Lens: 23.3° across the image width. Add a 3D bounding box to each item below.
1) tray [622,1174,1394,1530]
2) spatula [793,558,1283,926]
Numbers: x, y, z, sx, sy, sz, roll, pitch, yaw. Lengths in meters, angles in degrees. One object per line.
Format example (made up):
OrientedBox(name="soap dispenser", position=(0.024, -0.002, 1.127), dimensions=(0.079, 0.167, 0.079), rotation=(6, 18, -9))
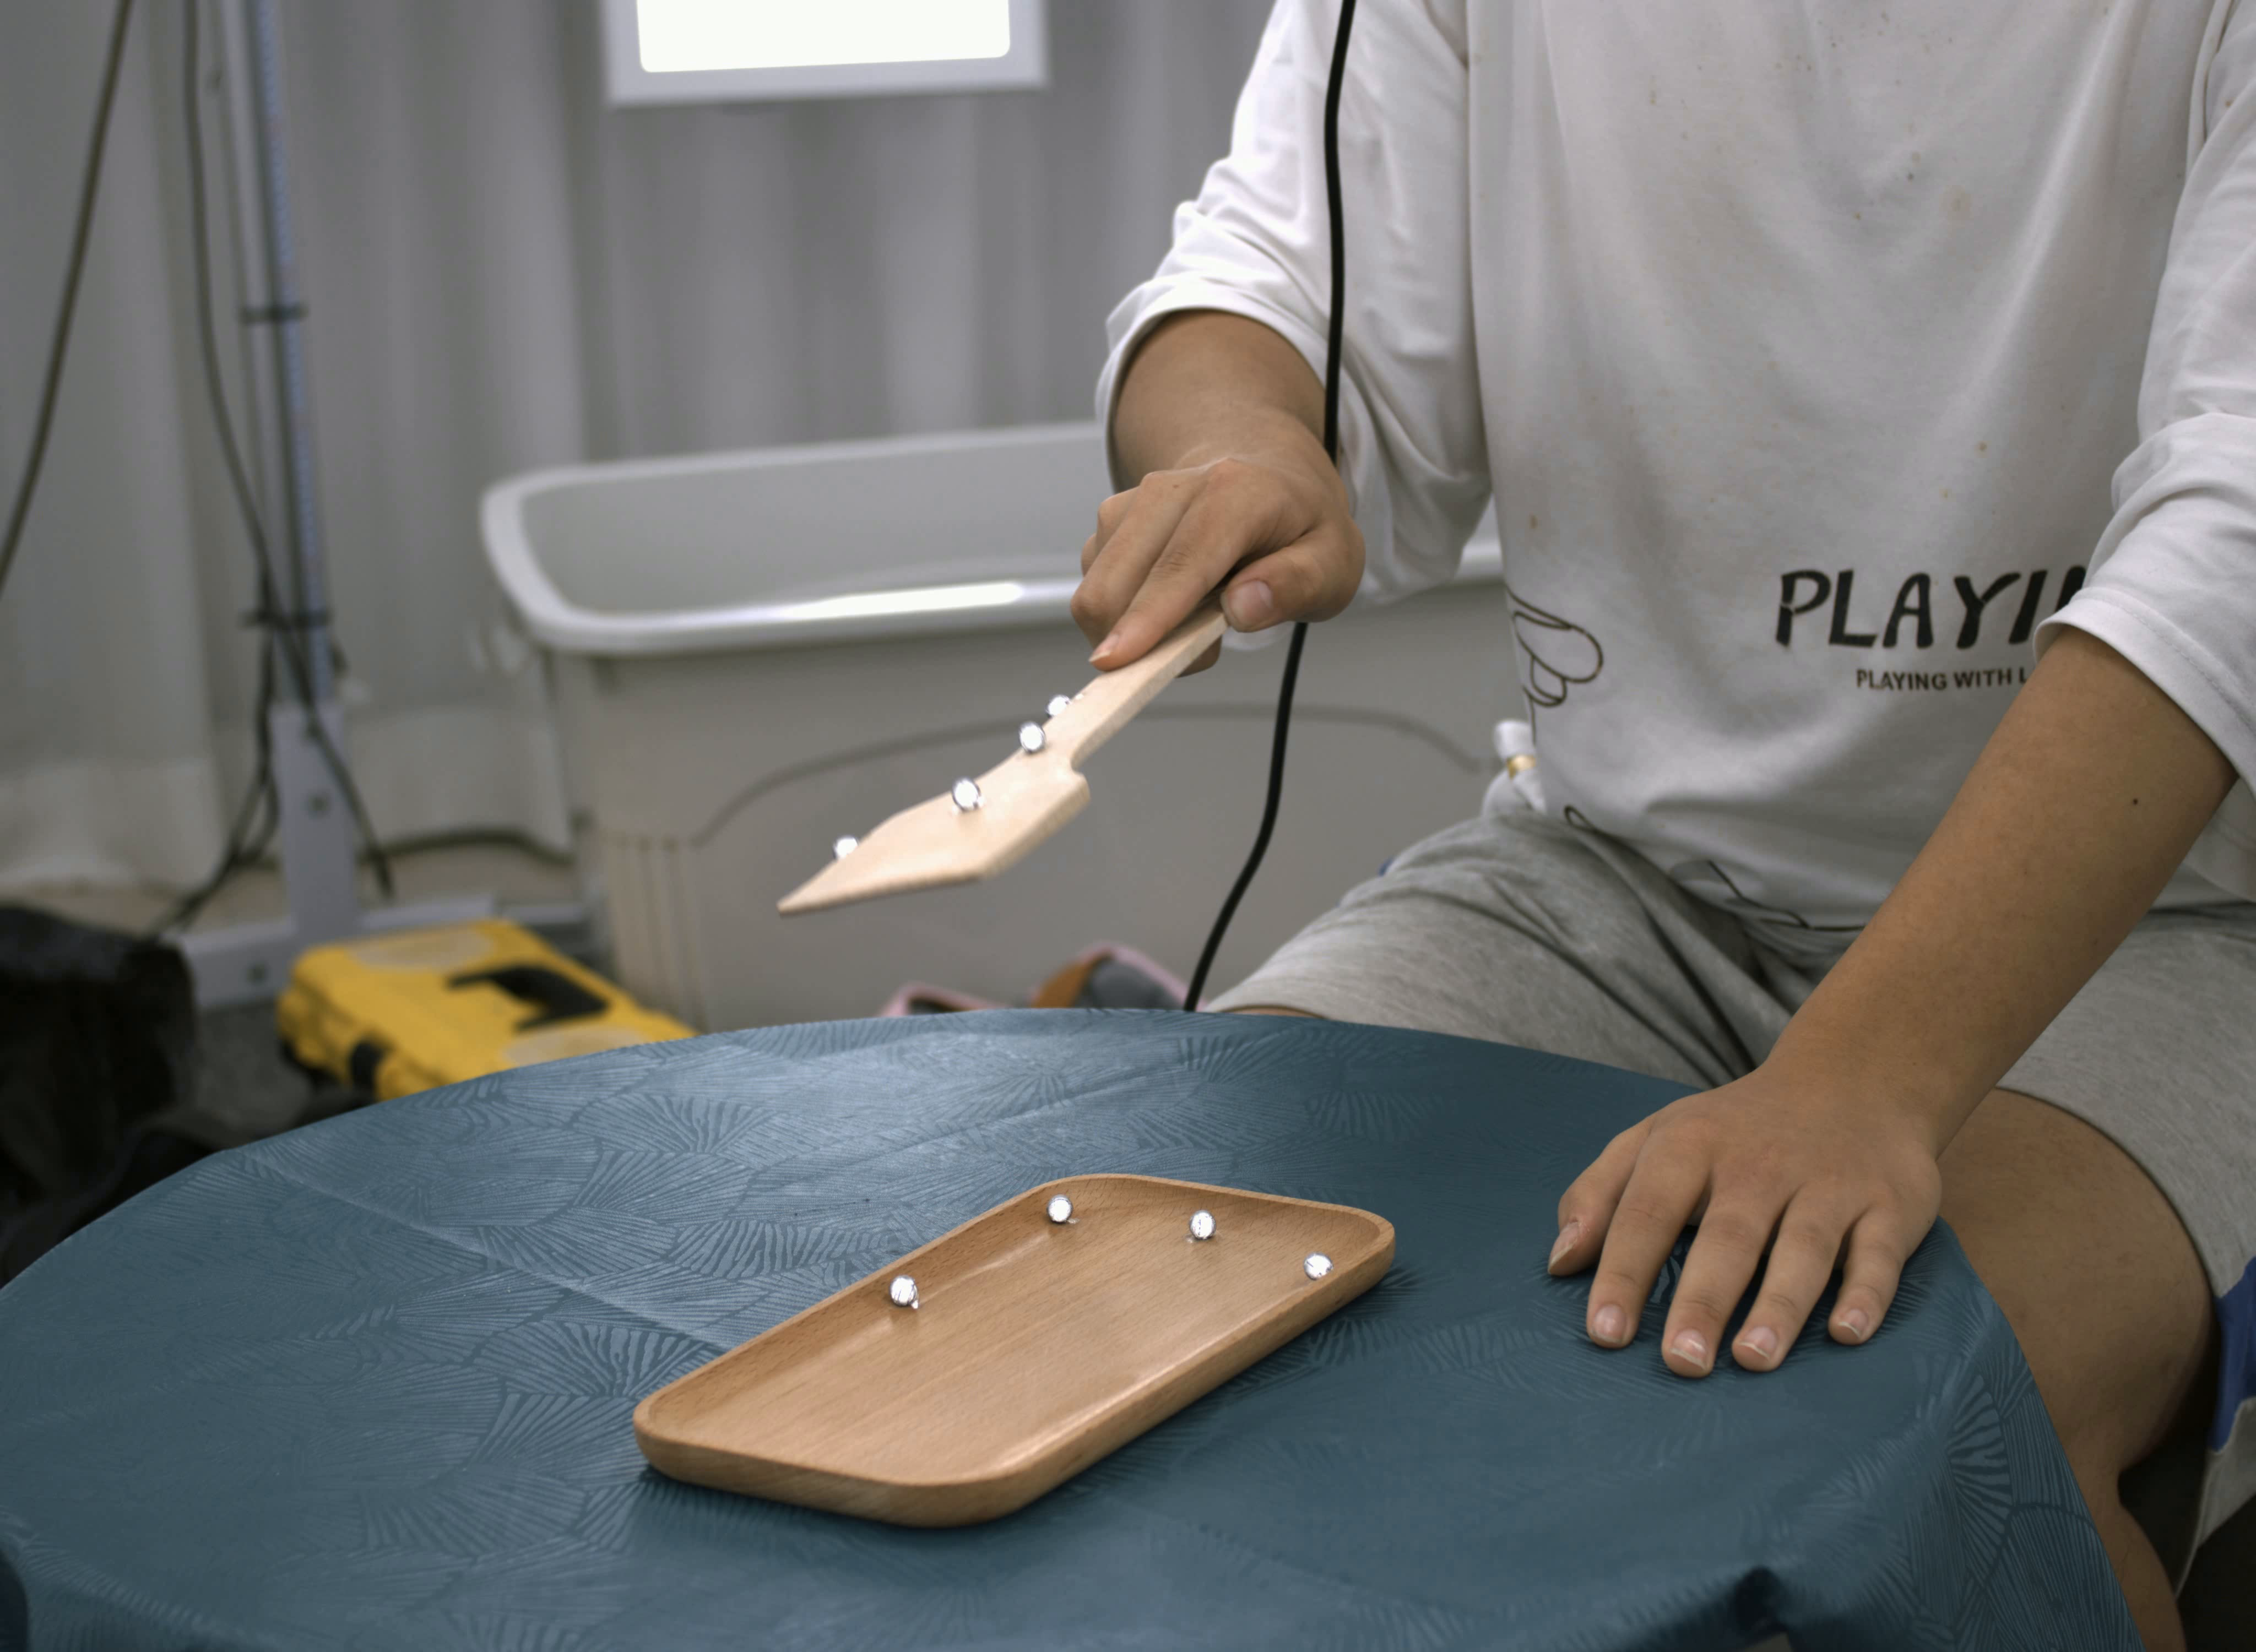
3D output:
OrientedBox(name="tray", position=(-0.030, 0.148, 1.567), dimensions=(0.131, 0.023, 0.251), rotation=(4, 17, 33))
OrientedBox(name="spatula", position=(-0.014, -0.029, 1.669), dimensions=(0.072, 0.010, 0.295), rotation=(-10, 18, 27))
